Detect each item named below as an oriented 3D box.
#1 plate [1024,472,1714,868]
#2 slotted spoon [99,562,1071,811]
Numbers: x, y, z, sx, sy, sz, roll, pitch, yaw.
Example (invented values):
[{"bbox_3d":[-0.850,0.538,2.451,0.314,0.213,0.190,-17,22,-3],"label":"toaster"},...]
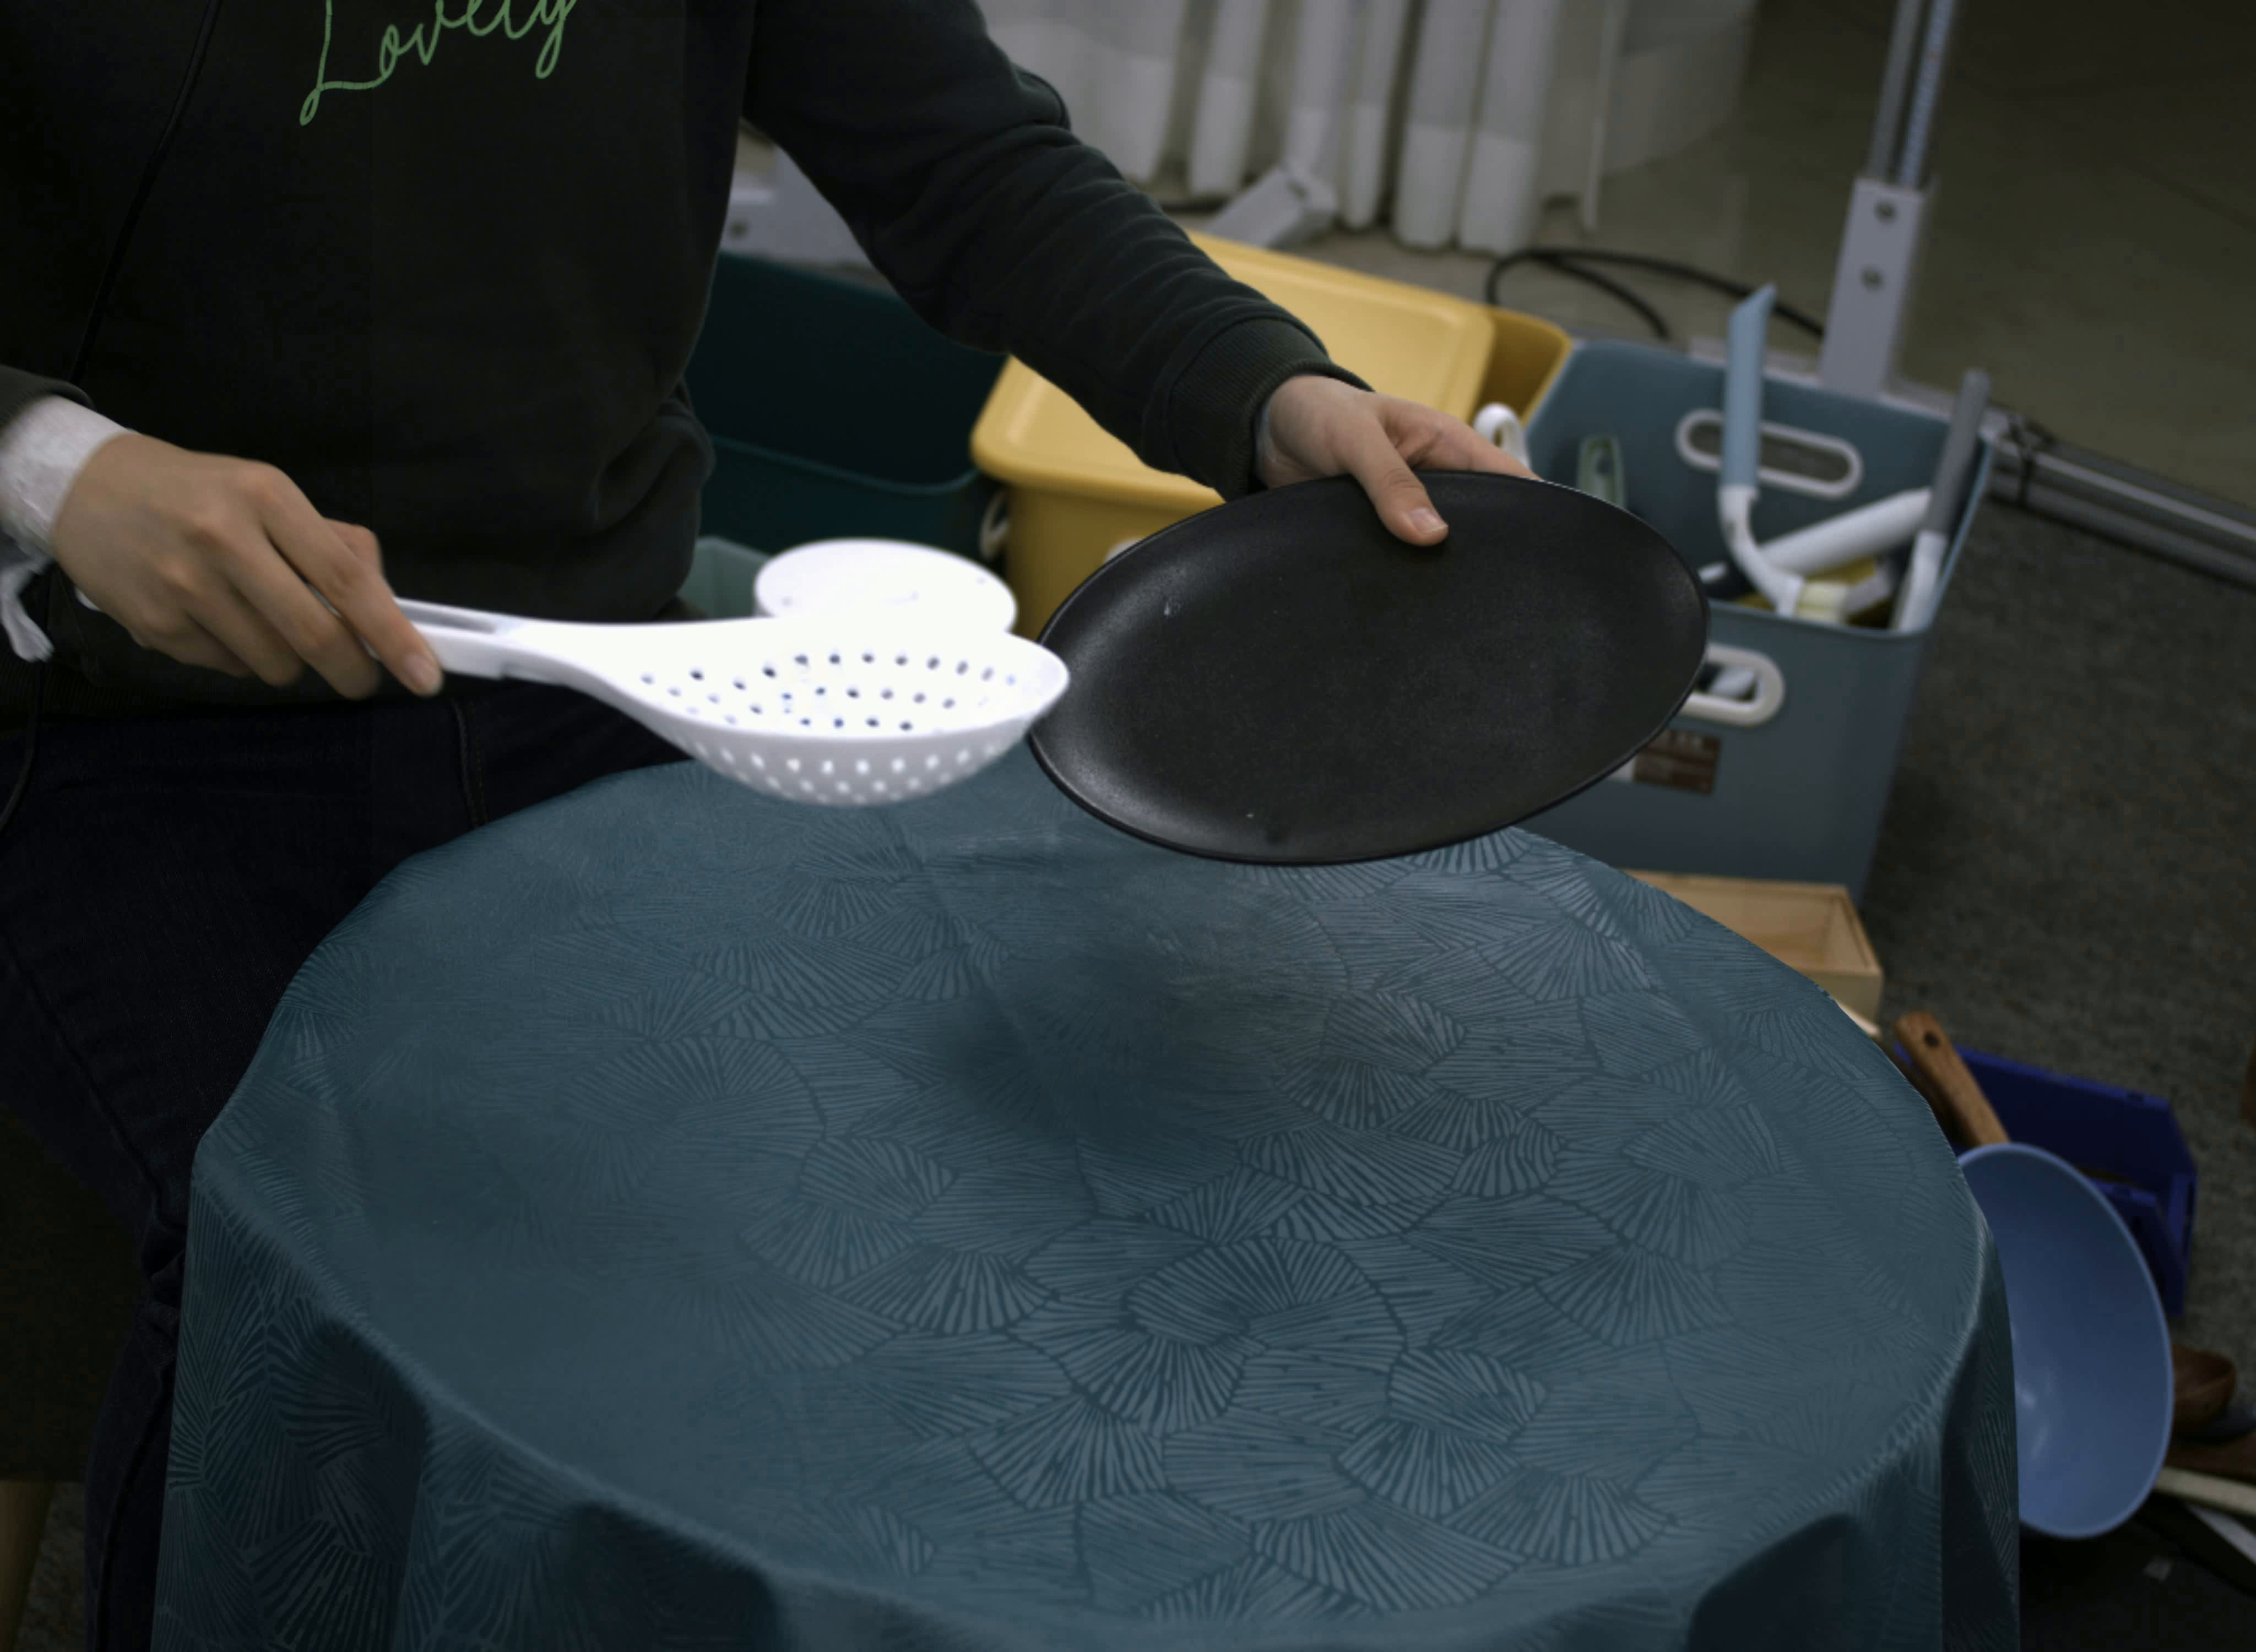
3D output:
[{"bbox_3d":[0.084,-0.051,1.857,0.244,0.023,0.246,-8,34,5],"label":"plate"},{"bbox_3d":[-0.182,-0.054,1.699,0.351,0.045,0.136,14,21,24],"label":"slotted spoon"}]
